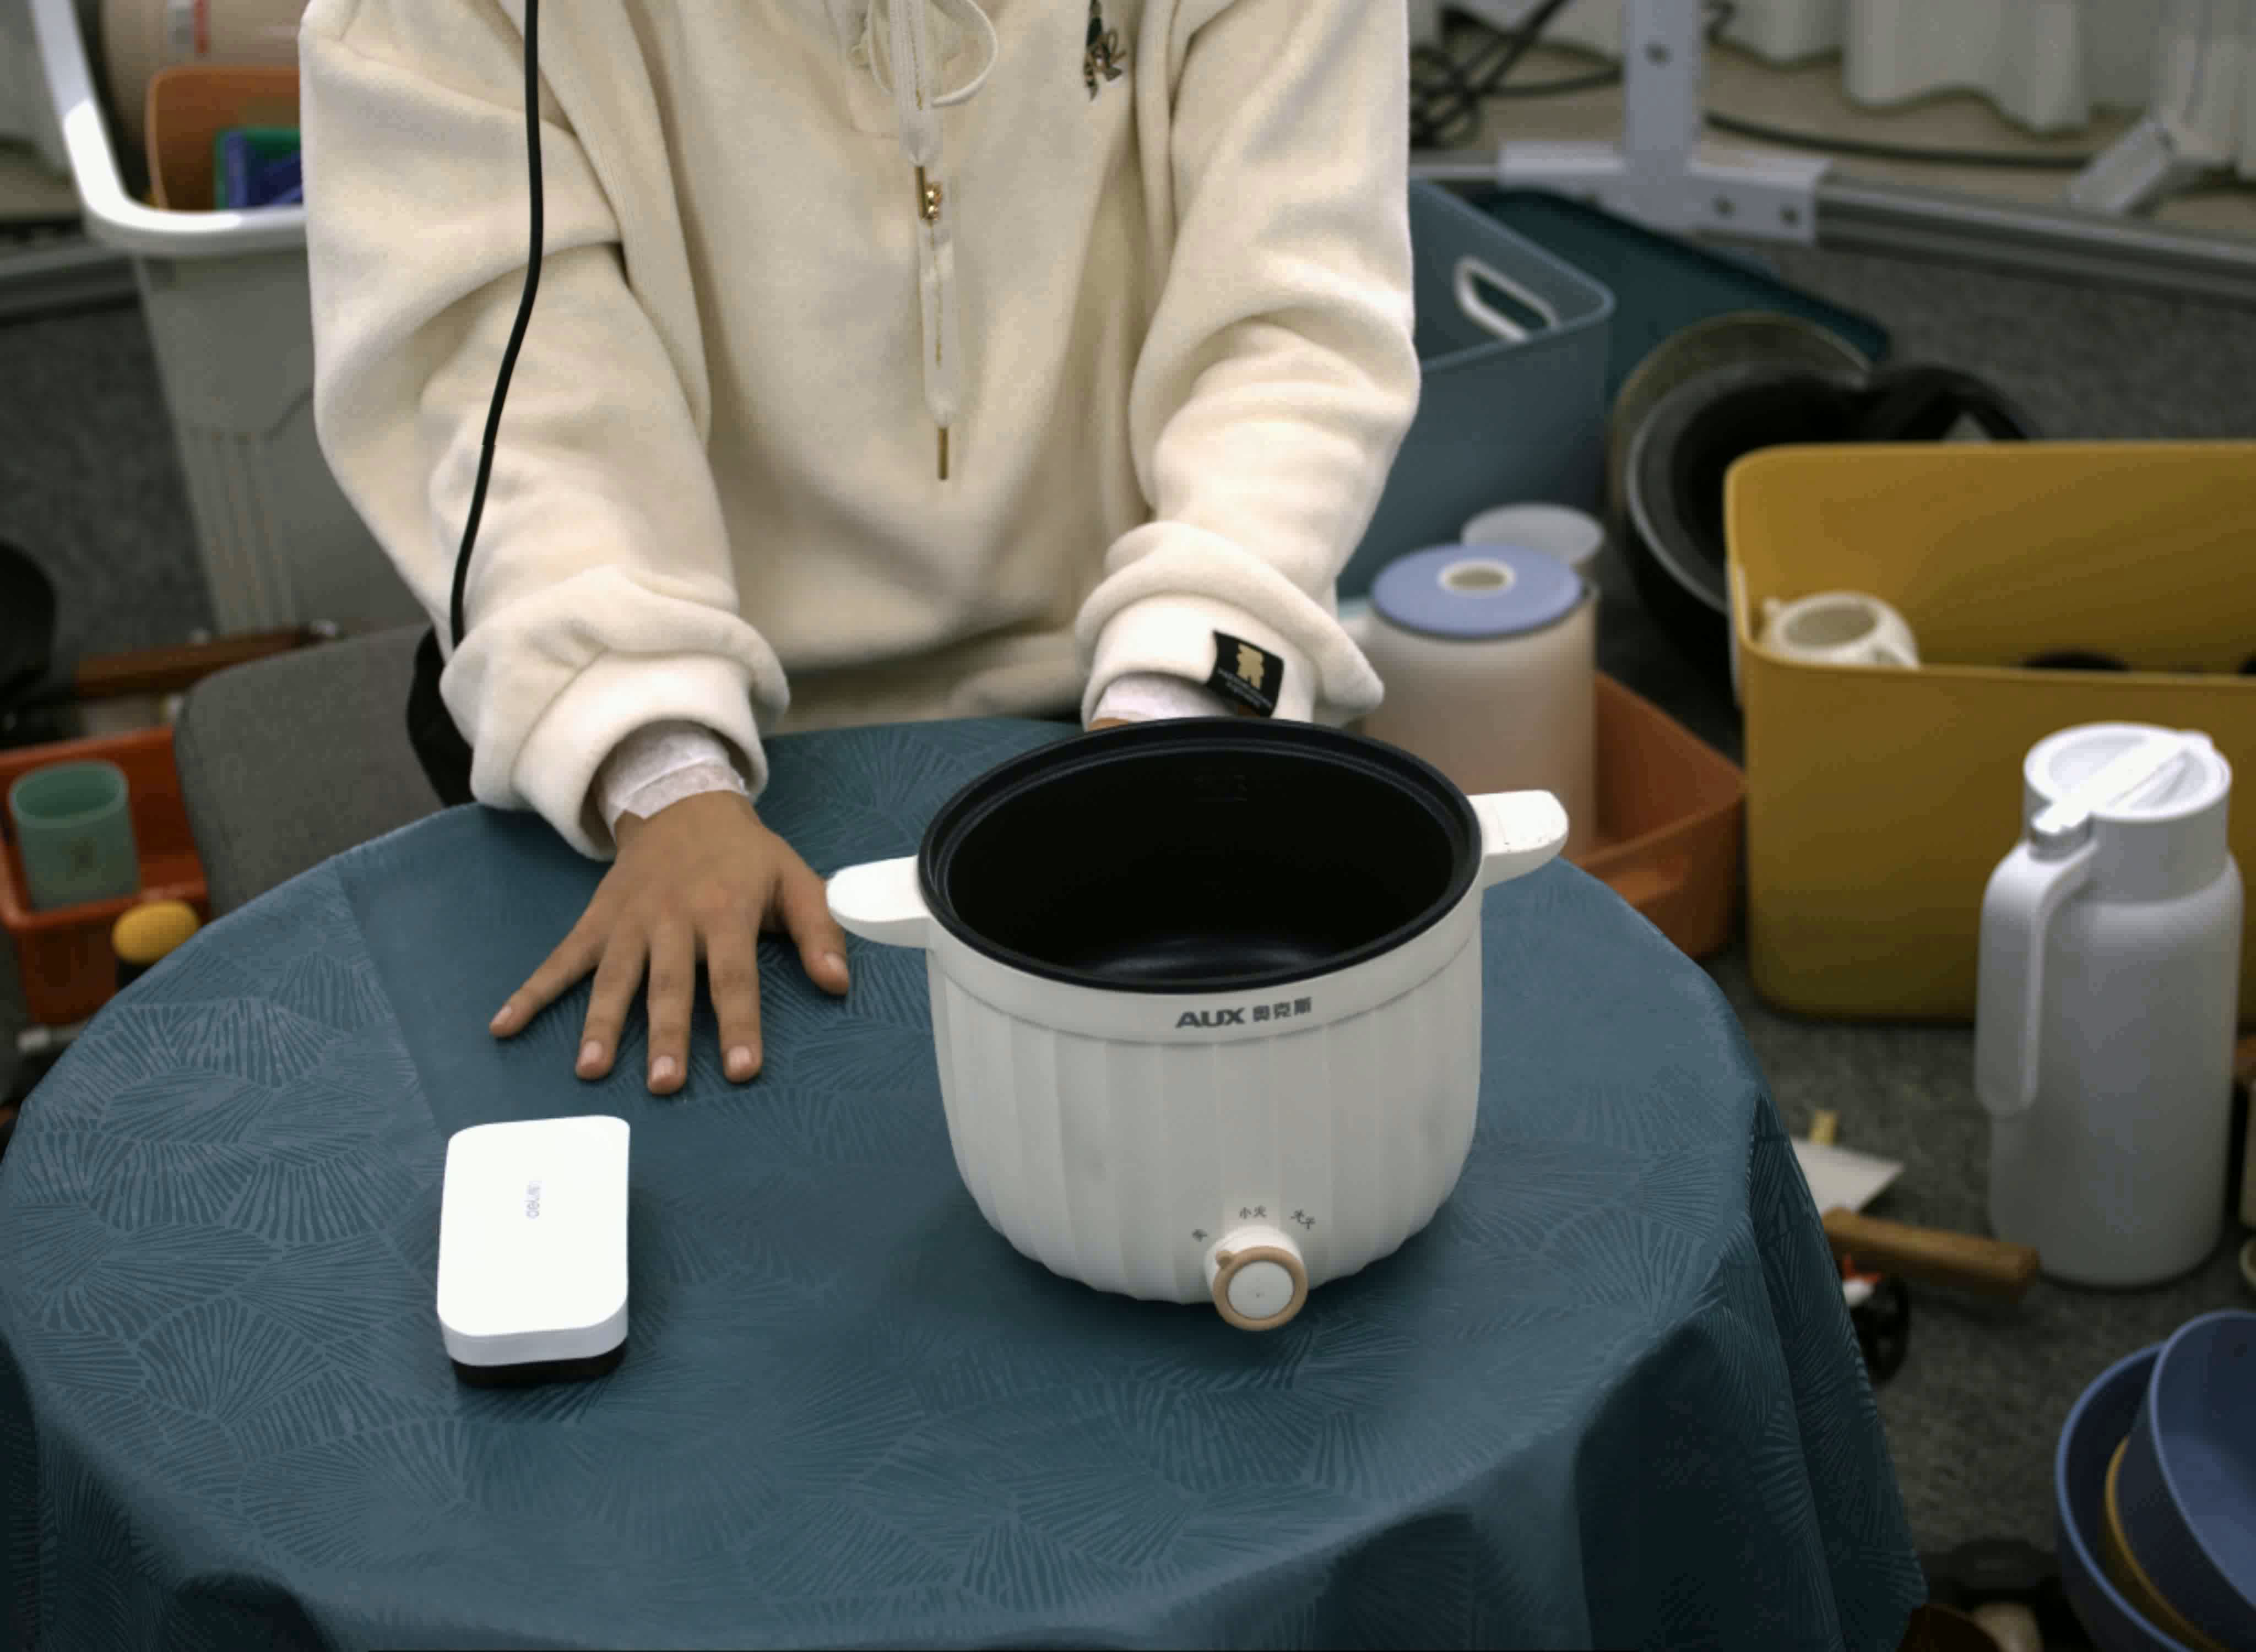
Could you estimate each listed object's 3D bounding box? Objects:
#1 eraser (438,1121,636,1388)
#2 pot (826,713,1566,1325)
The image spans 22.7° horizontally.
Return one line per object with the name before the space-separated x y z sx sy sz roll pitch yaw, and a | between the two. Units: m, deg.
eraser | -0.191 0.135 1.821 0.063 0.034 0.133 -2 27 -4
pot | 0.028 0.066 1.817 0.240 0.141 0.192 -7 24 -6
